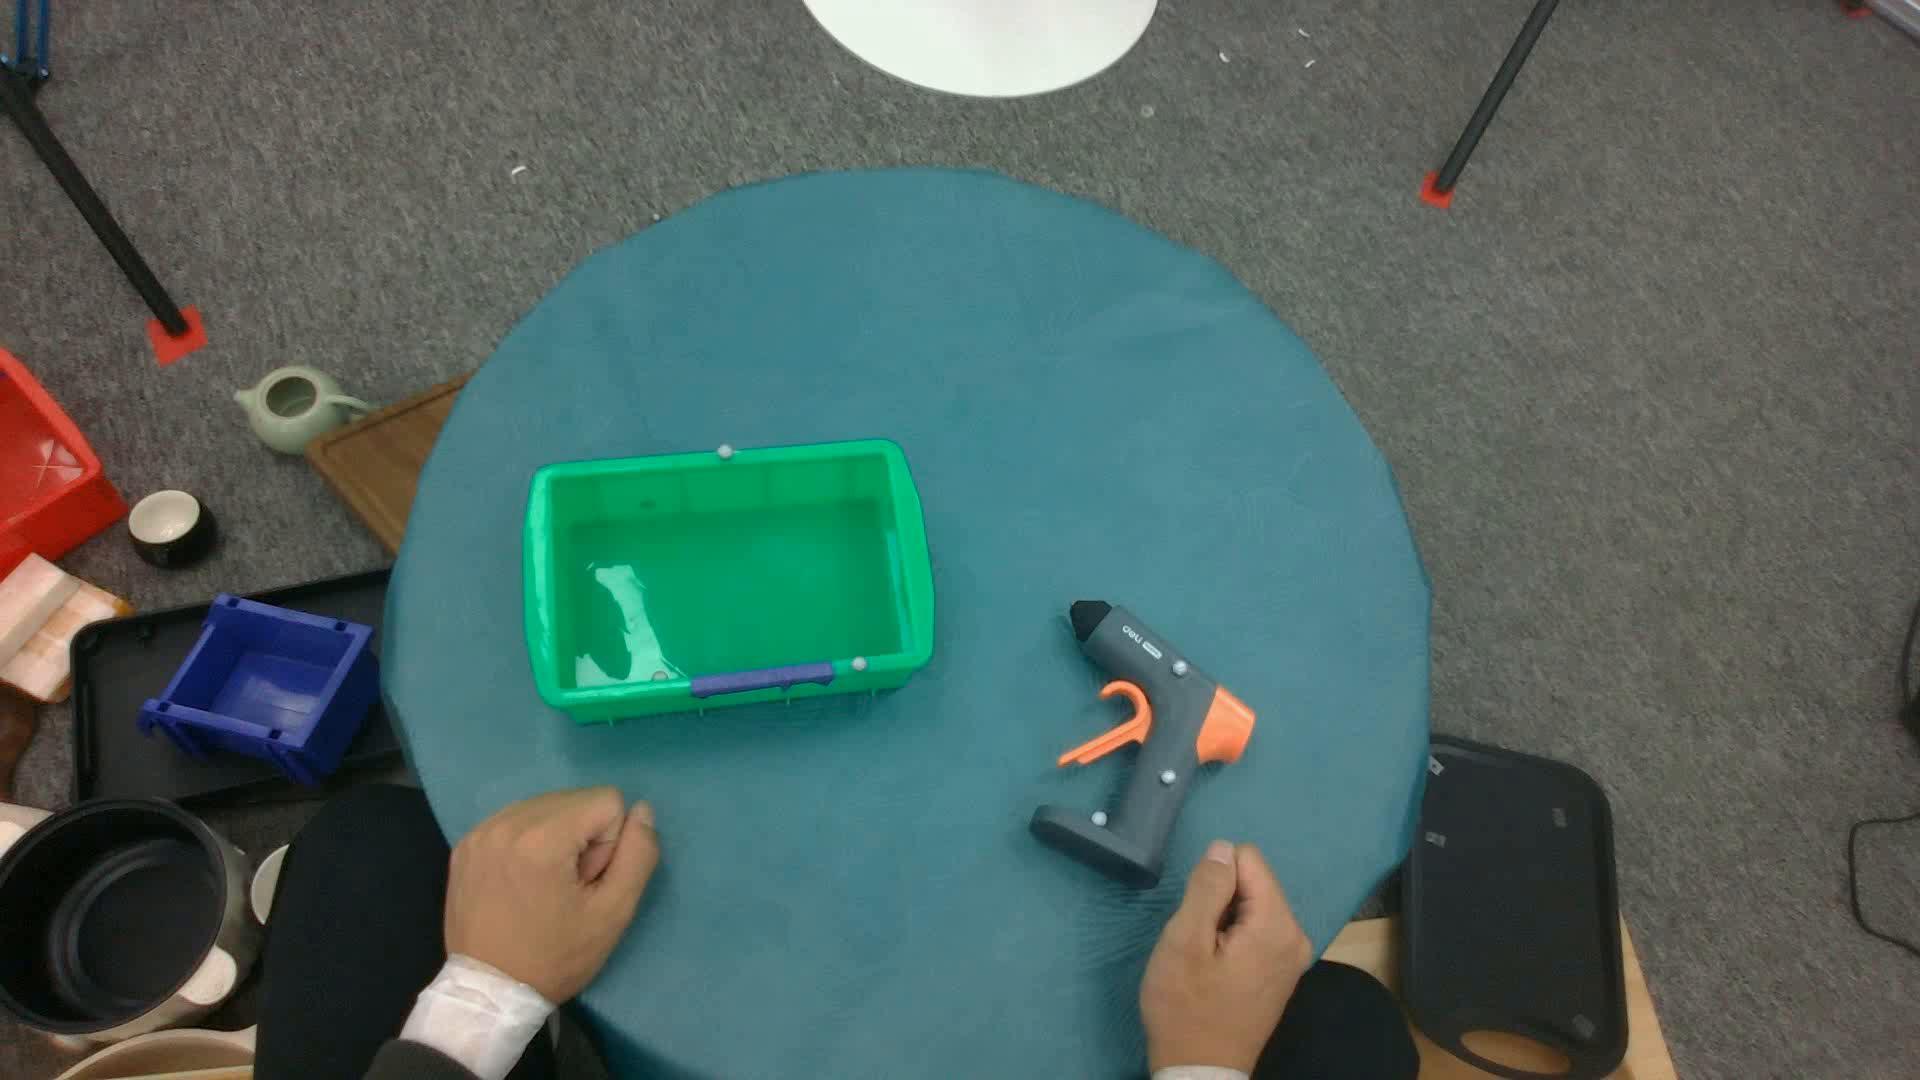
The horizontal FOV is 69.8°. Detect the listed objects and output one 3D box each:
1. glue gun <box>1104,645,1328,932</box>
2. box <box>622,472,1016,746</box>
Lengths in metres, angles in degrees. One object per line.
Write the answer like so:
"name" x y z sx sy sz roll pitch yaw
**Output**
"glue gun" 0.133 0.133 0.760 0.118 0.041 0.140 24 61 10
"box" -0.079 0.041 0.773 0.210 0.065 0.139 -4 64 -9
